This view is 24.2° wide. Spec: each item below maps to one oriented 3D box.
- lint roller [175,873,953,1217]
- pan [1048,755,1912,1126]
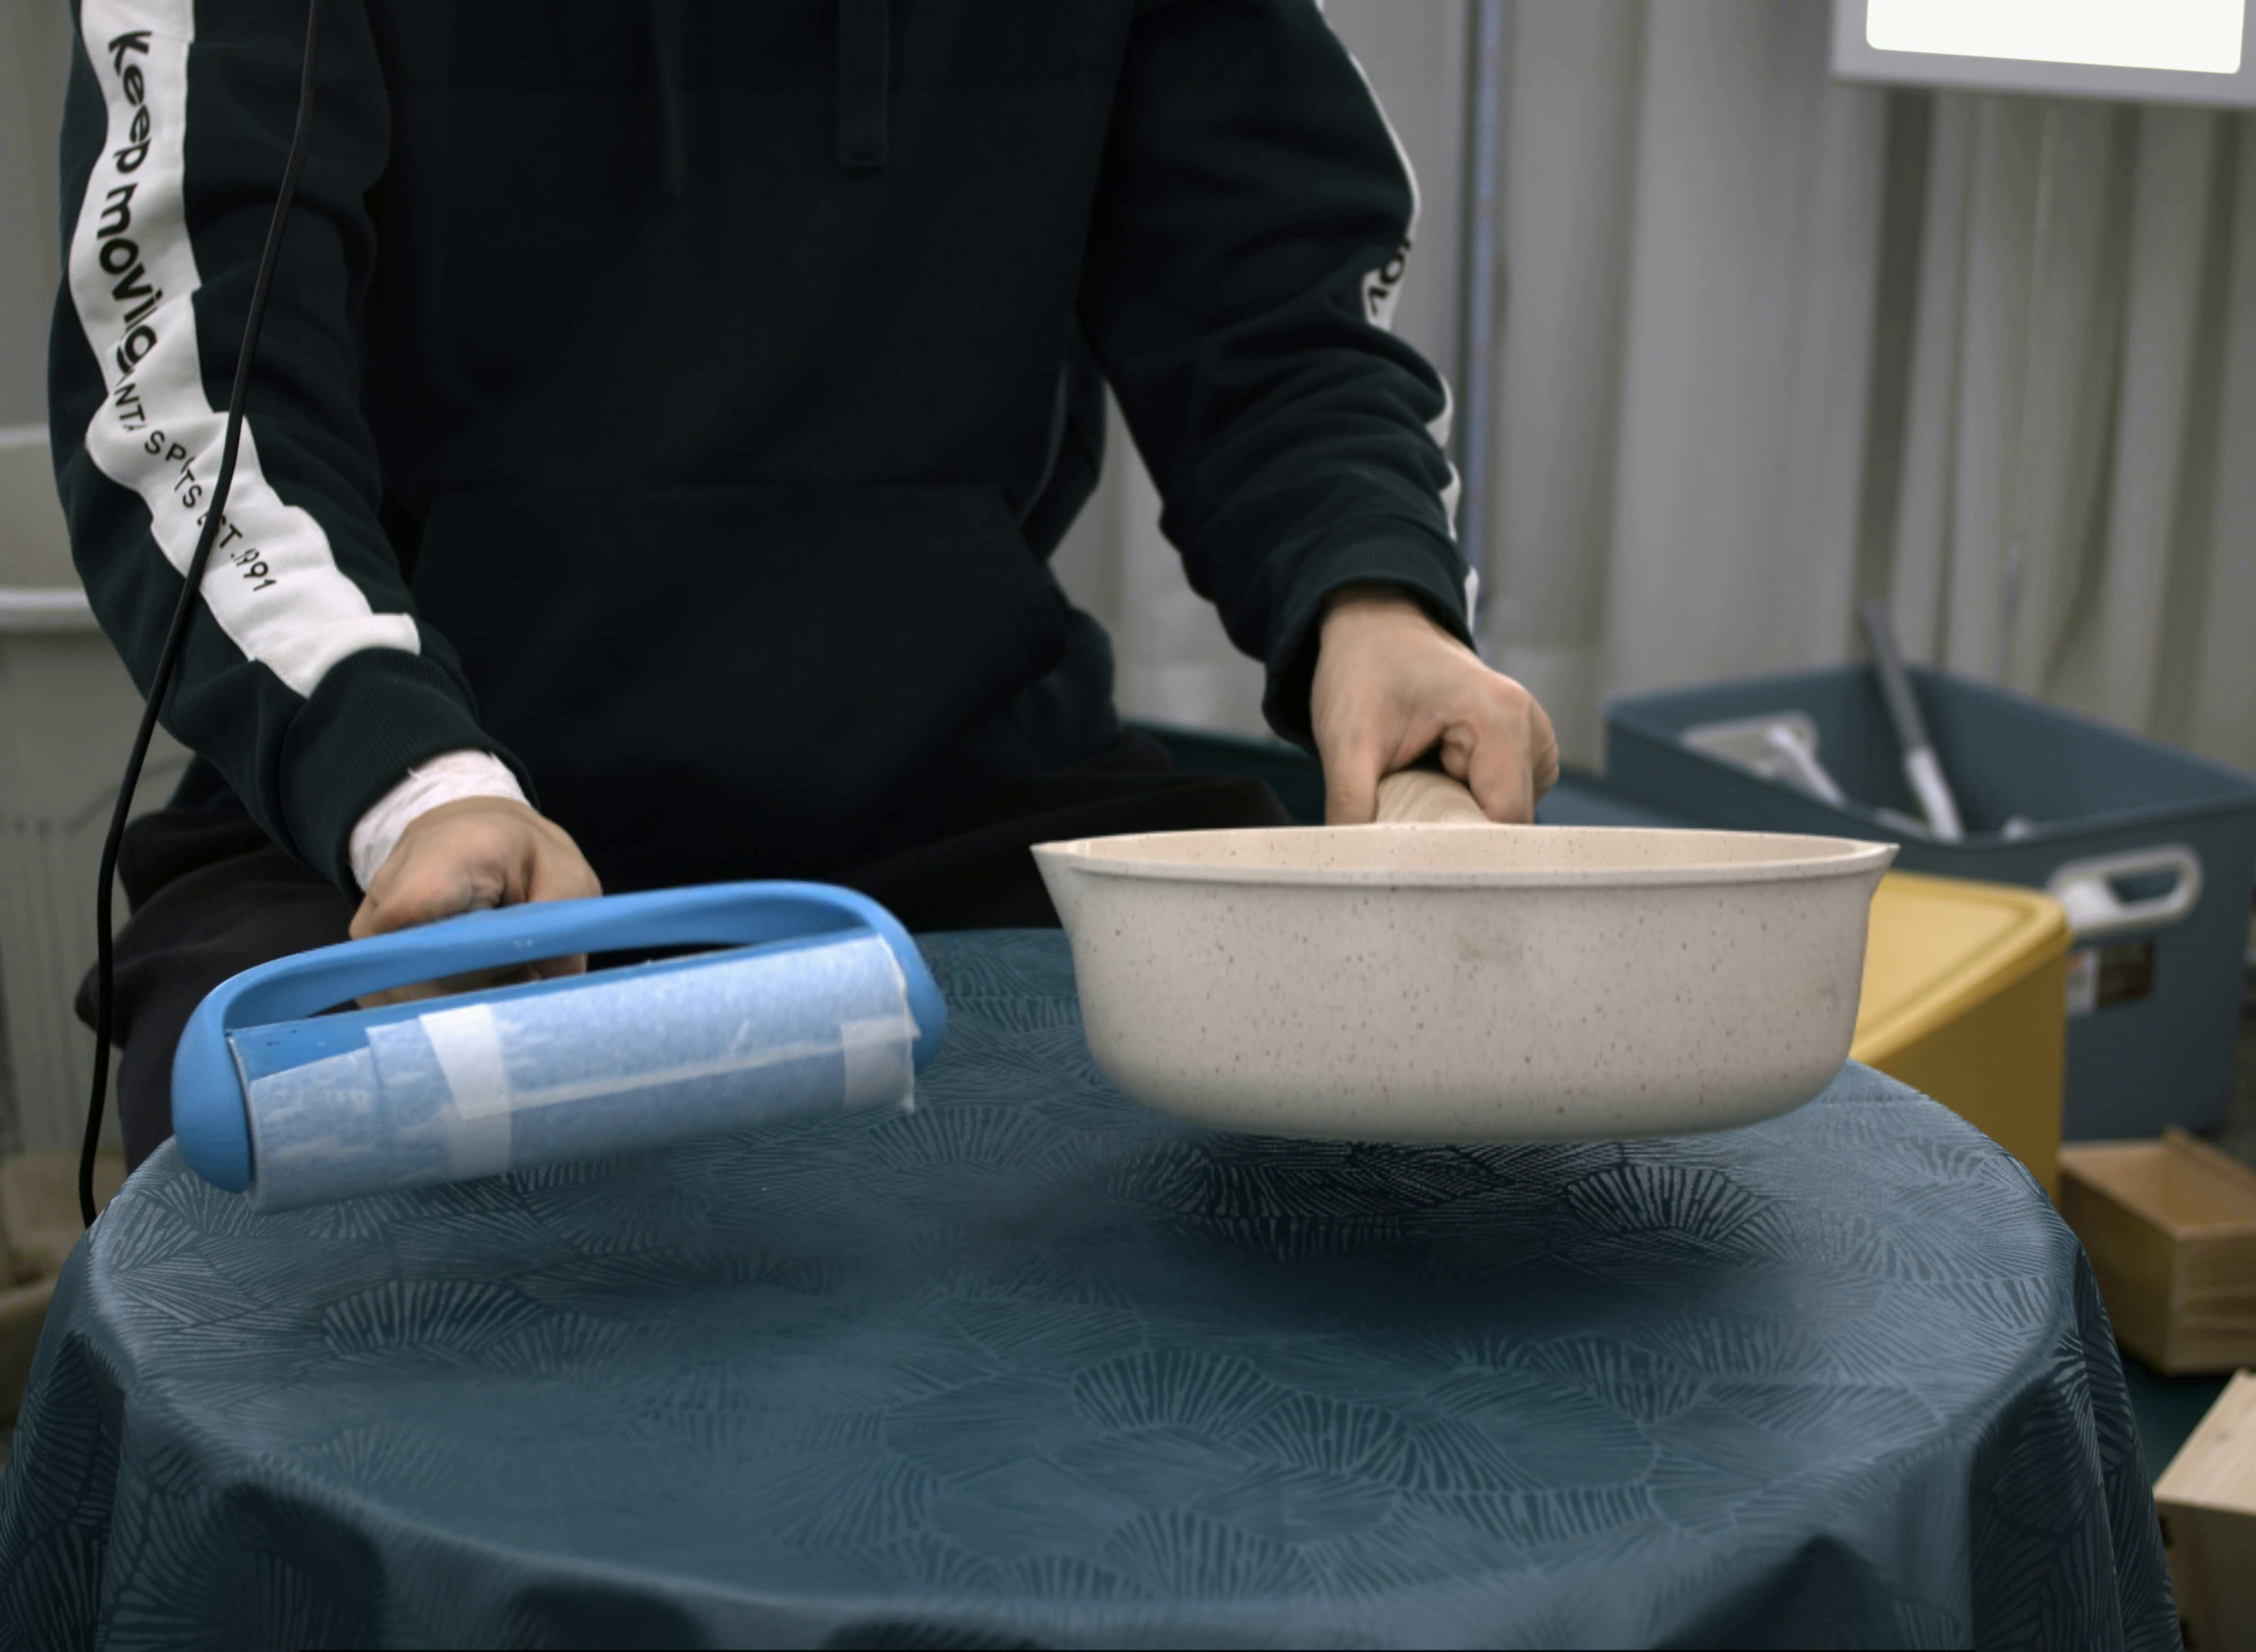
[{"bbox_3d":[-0.182,0.054,1.565,0.229,0.068,0.178,-12,17,-21],"label":"lint roller"},{"bbox_3d":[0.104,0.032,1.681,0.263,0.102,0.434,-1,2,-2],"label":"pan"}]
